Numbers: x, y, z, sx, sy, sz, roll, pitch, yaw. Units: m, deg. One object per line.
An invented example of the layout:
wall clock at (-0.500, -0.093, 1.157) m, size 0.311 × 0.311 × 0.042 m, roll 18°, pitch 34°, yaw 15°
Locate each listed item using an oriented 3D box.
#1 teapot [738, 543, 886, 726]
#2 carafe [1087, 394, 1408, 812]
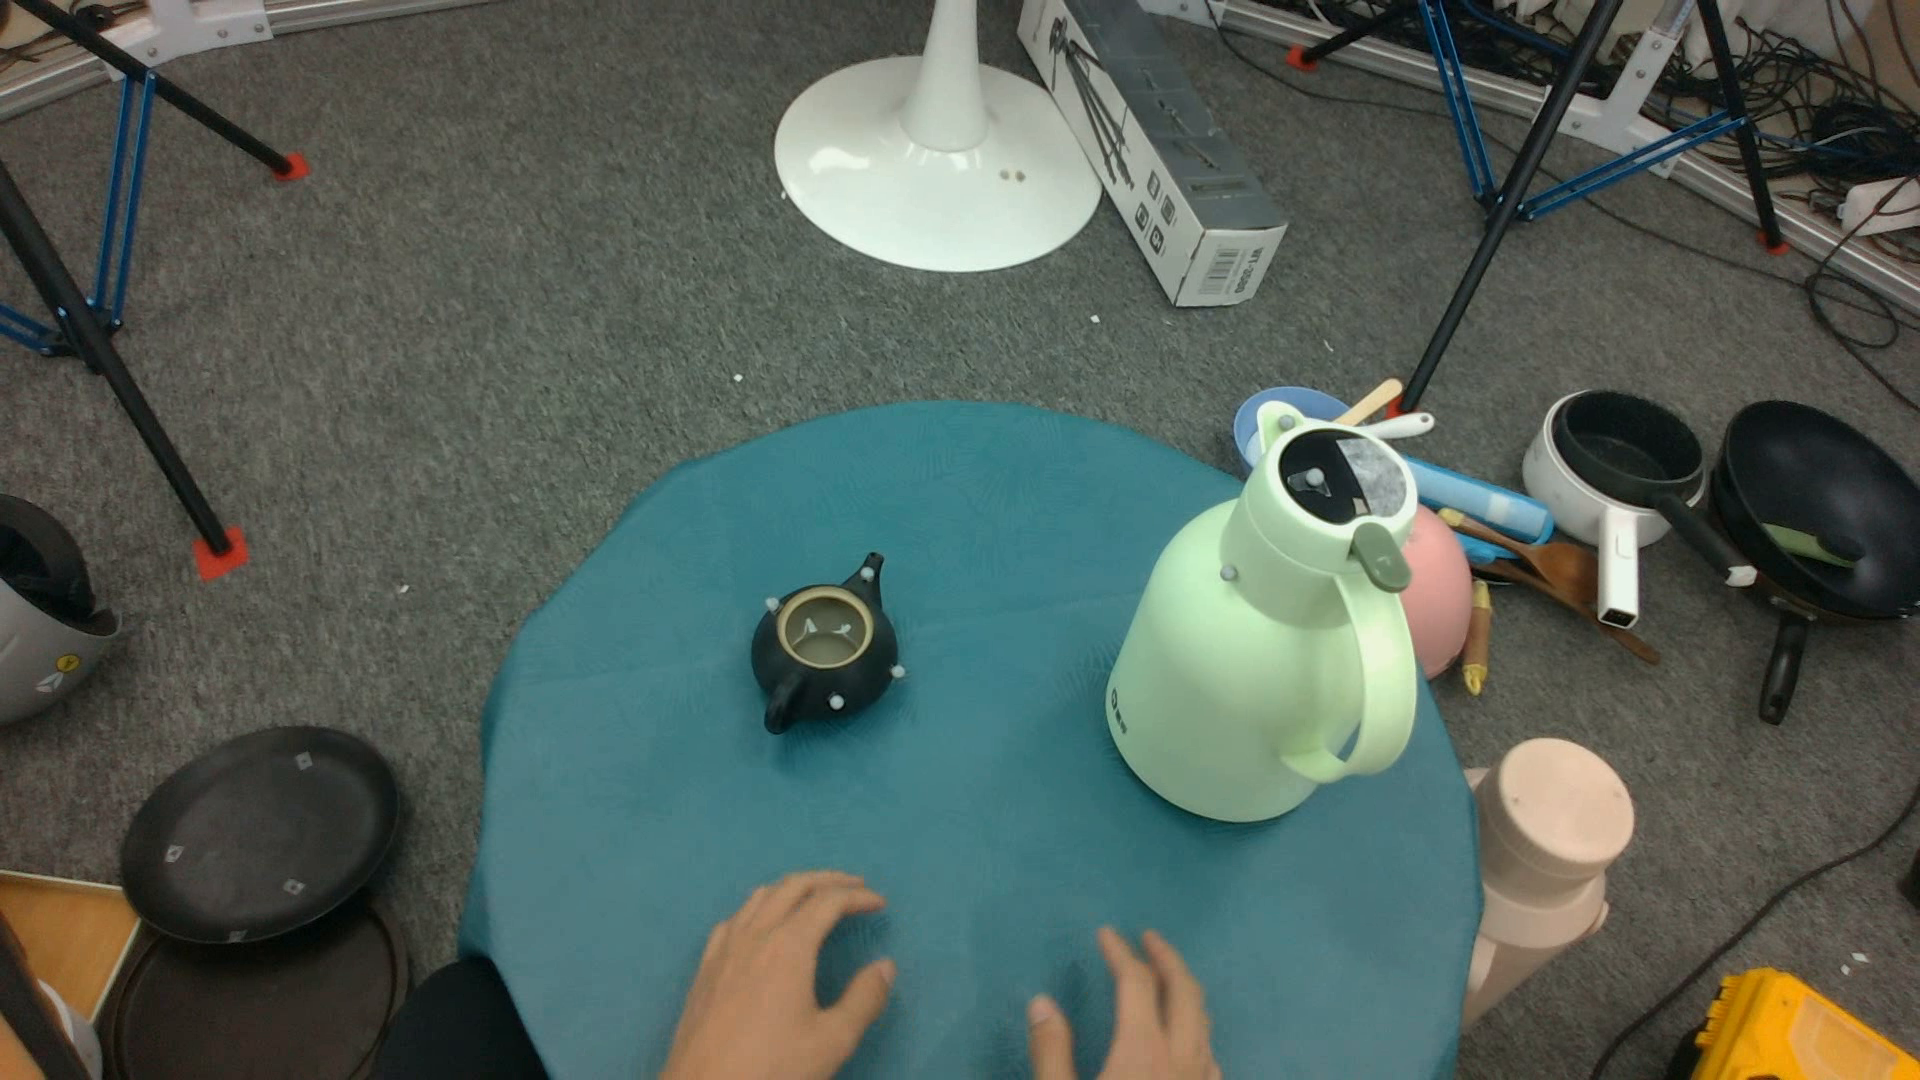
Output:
teapot at (-0.091, 0.062, 0.844) m, size 0.091 × 0.053 × 0.134 m, roll 24°, pitch 53°, yaw 12°
carafe at (0.171, 0.051, 0.769) m, size 0.144 × 0.255 × 0.187 m, roll -7°, pitch 58°, yaw -16°
